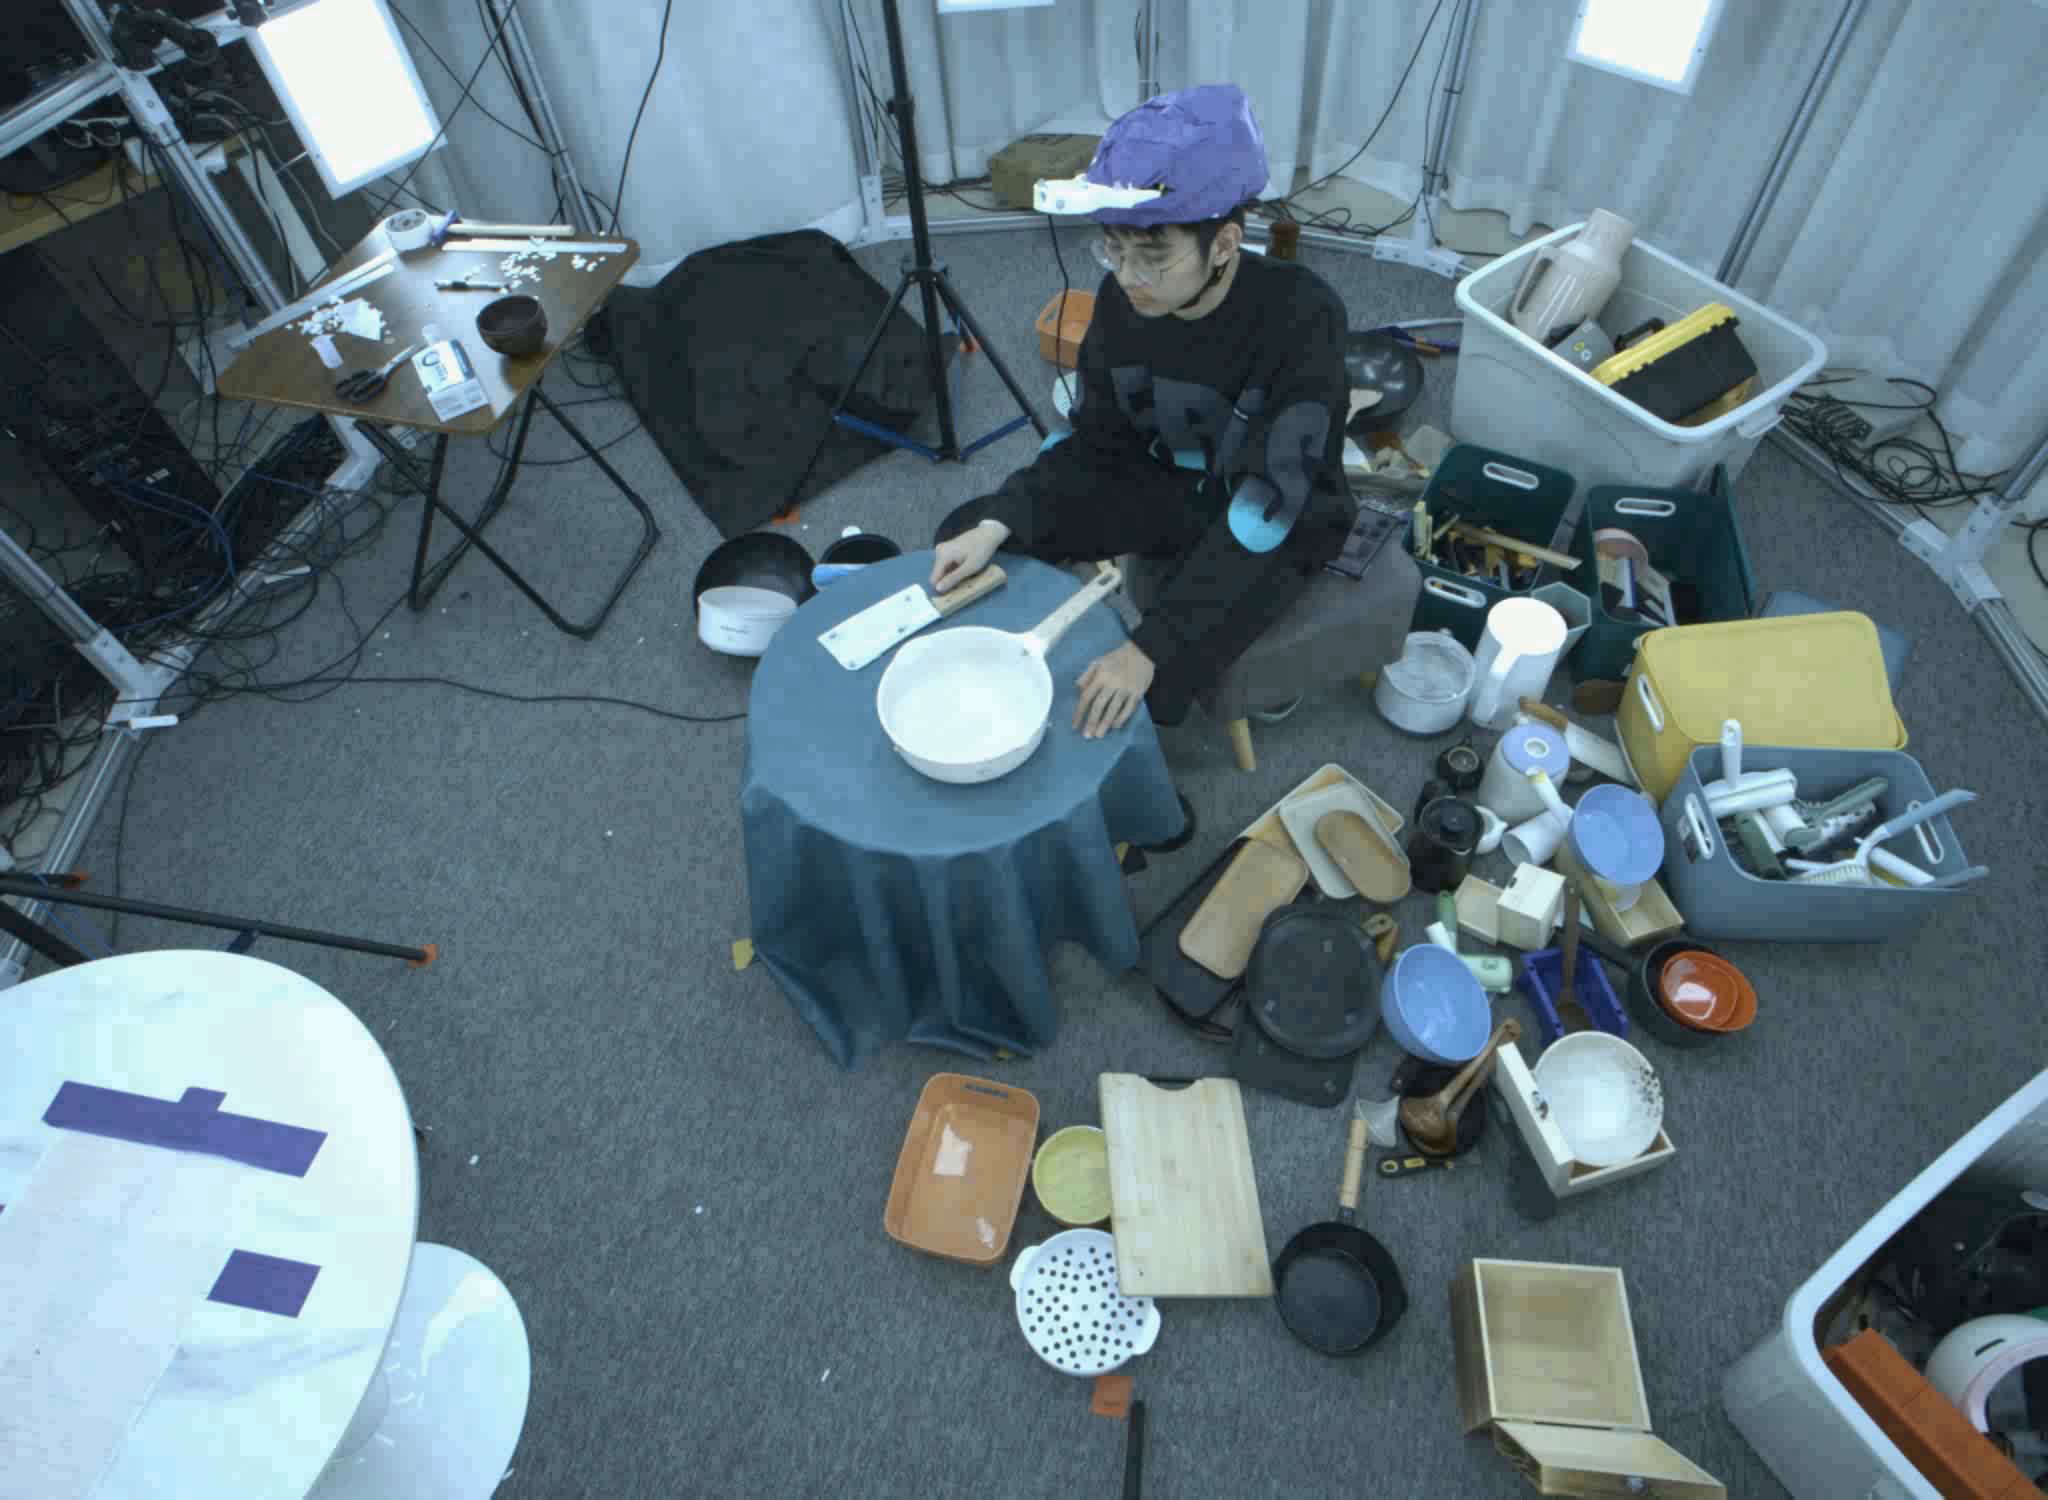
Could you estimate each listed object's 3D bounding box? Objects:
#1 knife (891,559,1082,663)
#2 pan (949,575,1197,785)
[{"bbox_3d":[-0.053,-0.227,1.938,0.317,0.022,0.112,-25,57,-12],"label":"knife"},{"bbox_3d":[0.092,-0.111,1.802,0.438,0.103,0.258,-35,58,-20],"label":"pan"}]
